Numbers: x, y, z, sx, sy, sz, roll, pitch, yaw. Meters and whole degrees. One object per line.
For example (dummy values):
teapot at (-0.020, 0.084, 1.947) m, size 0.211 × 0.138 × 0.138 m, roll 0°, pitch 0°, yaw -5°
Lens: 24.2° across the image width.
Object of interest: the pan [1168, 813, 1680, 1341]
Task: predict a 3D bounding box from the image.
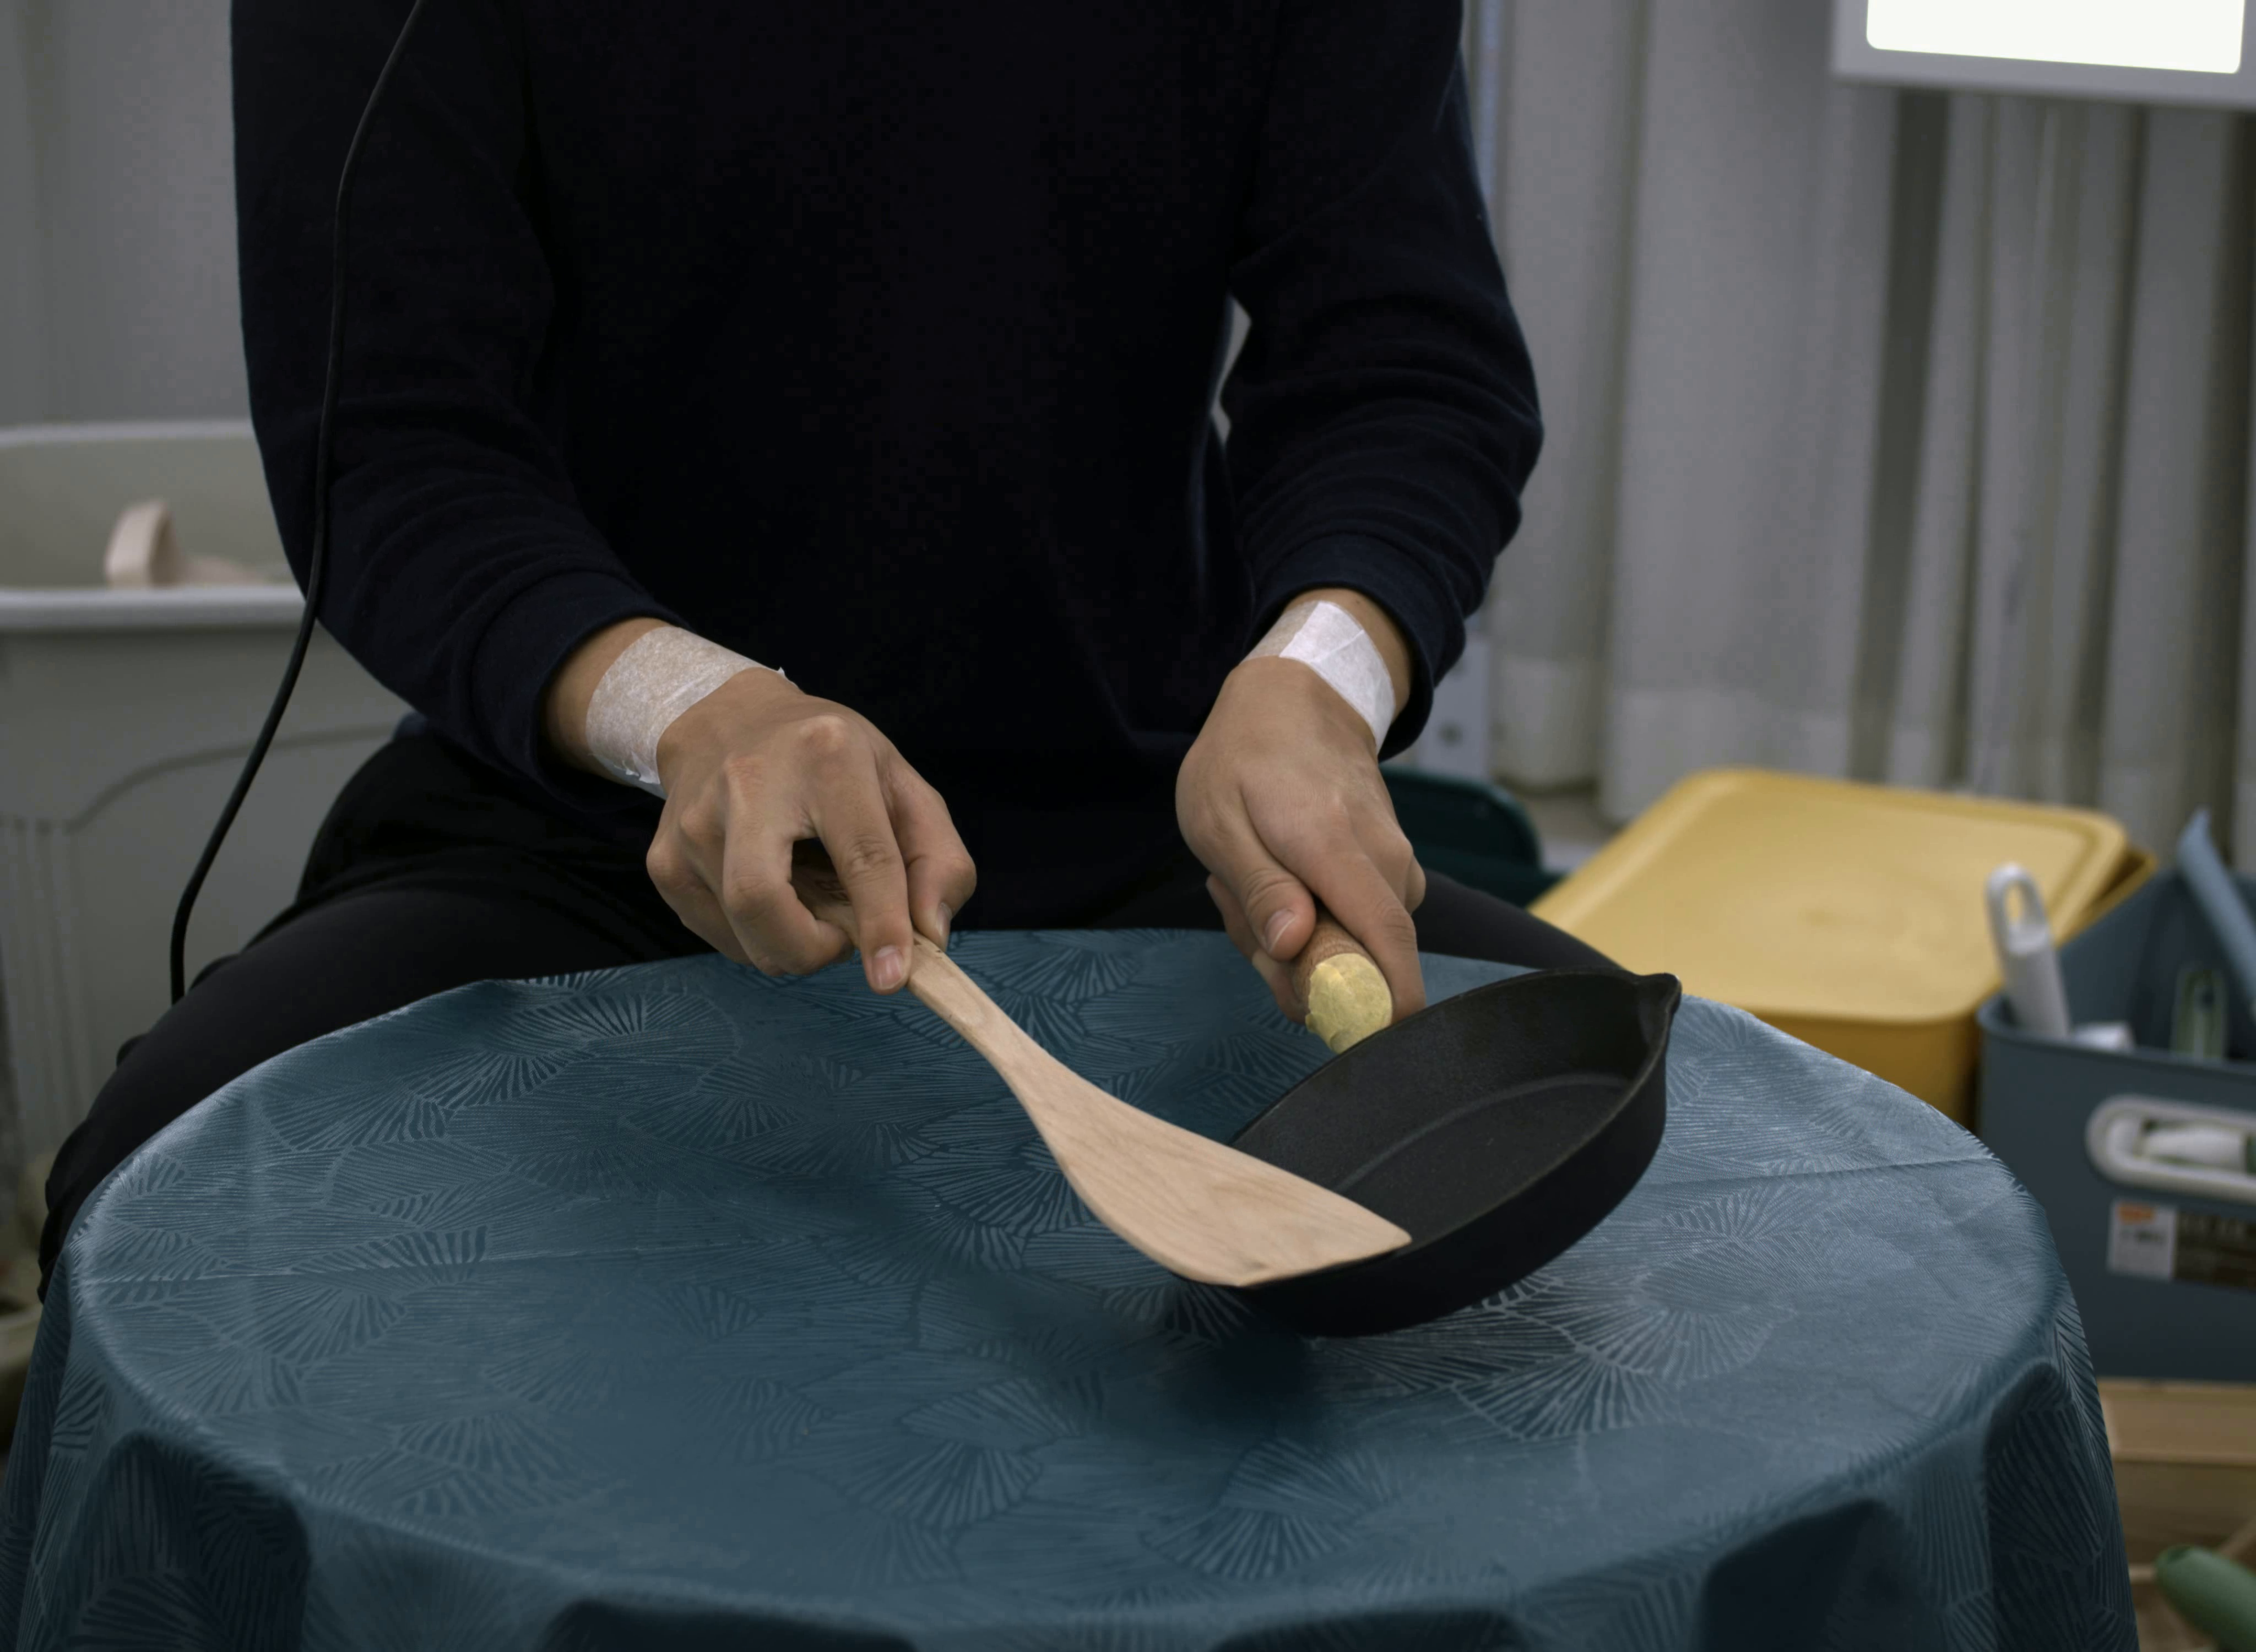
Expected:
pan at (0.077, 0.066, 1.596) m, size 0.168 × 0.050 × 0.321 m, roll -29°, pitch 20°, yaw 3°

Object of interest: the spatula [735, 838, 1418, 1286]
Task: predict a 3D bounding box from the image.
spatula at (-0.030, 0.064, 1.545) m, size 0.080 × 0.016 × 0.323 m, roll -4°, pitch 25°, yaw -34°
